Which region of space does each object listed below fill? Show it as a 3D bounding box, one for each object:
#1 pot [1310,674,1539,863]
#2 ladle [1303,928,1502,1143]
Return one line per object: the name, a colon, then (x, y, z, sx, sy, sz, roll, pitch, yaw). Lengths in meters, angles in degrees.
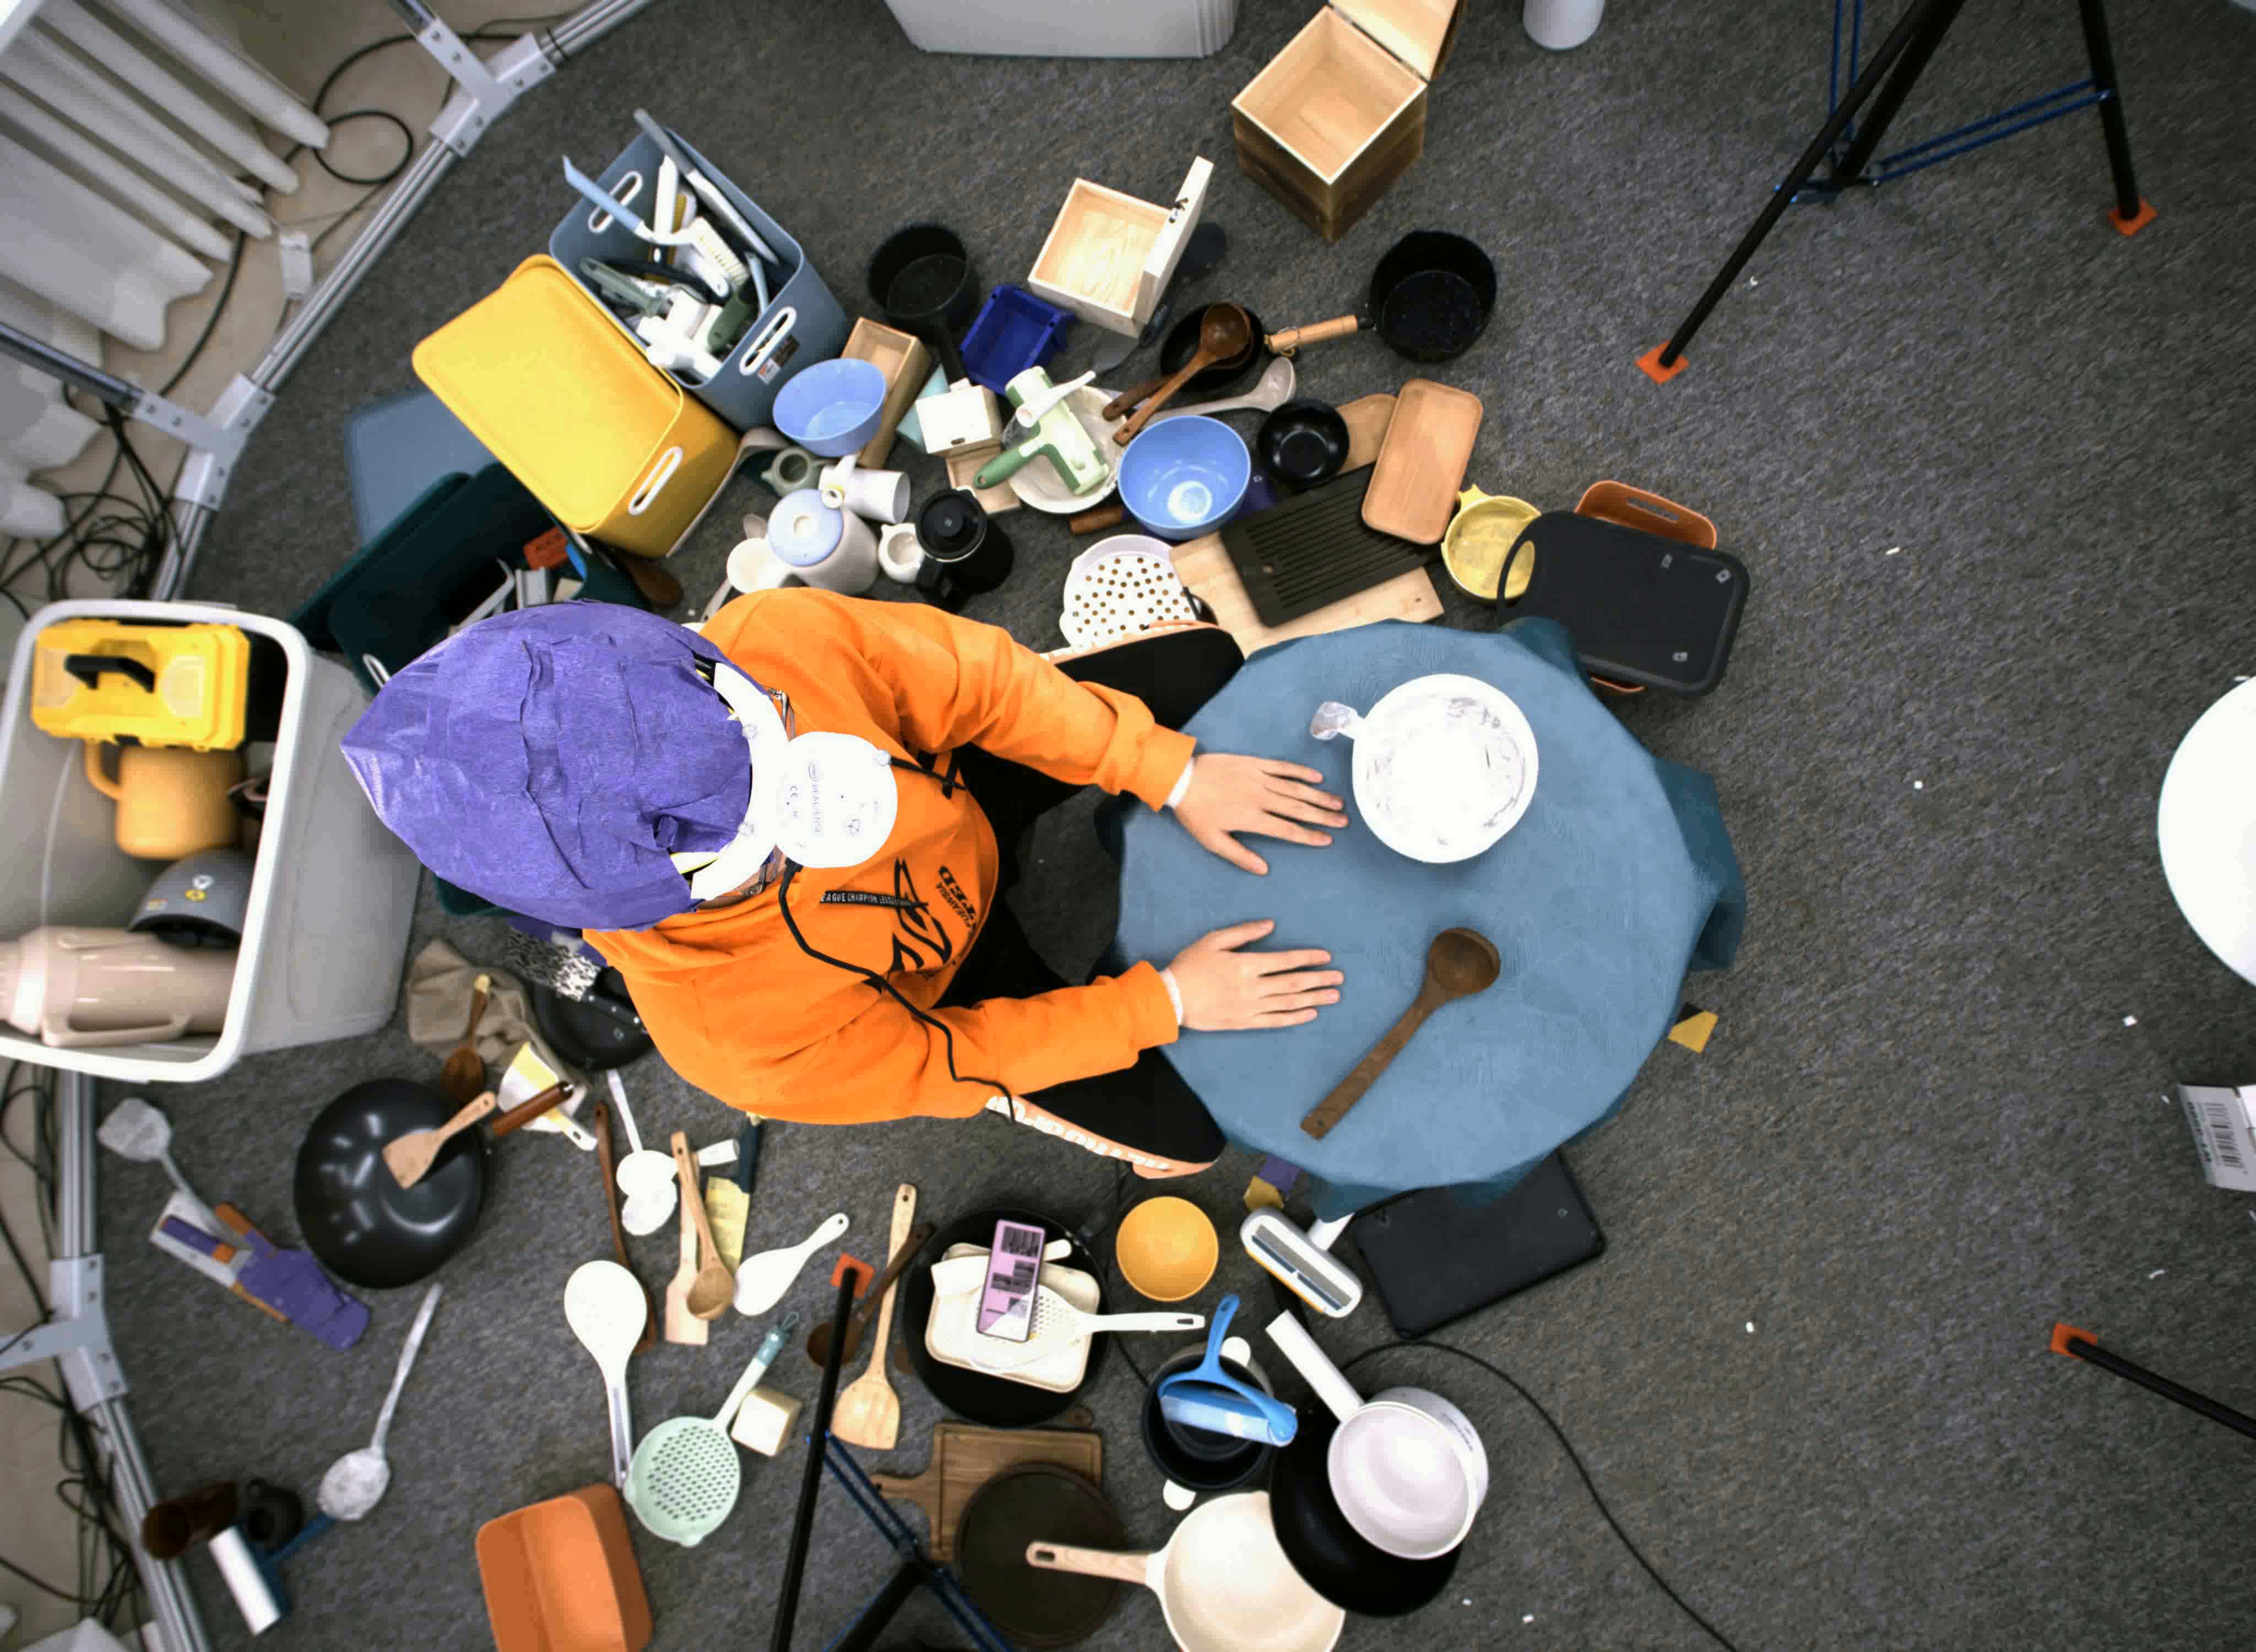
pot: (0.292, -0.067, 1.394, 0.233, 0.137, 0.179, 25, 90, 11)
ladle: (0.274, 0.217, 1.416, 0.075, 0.071, 0.275, 43, 94, 15)
